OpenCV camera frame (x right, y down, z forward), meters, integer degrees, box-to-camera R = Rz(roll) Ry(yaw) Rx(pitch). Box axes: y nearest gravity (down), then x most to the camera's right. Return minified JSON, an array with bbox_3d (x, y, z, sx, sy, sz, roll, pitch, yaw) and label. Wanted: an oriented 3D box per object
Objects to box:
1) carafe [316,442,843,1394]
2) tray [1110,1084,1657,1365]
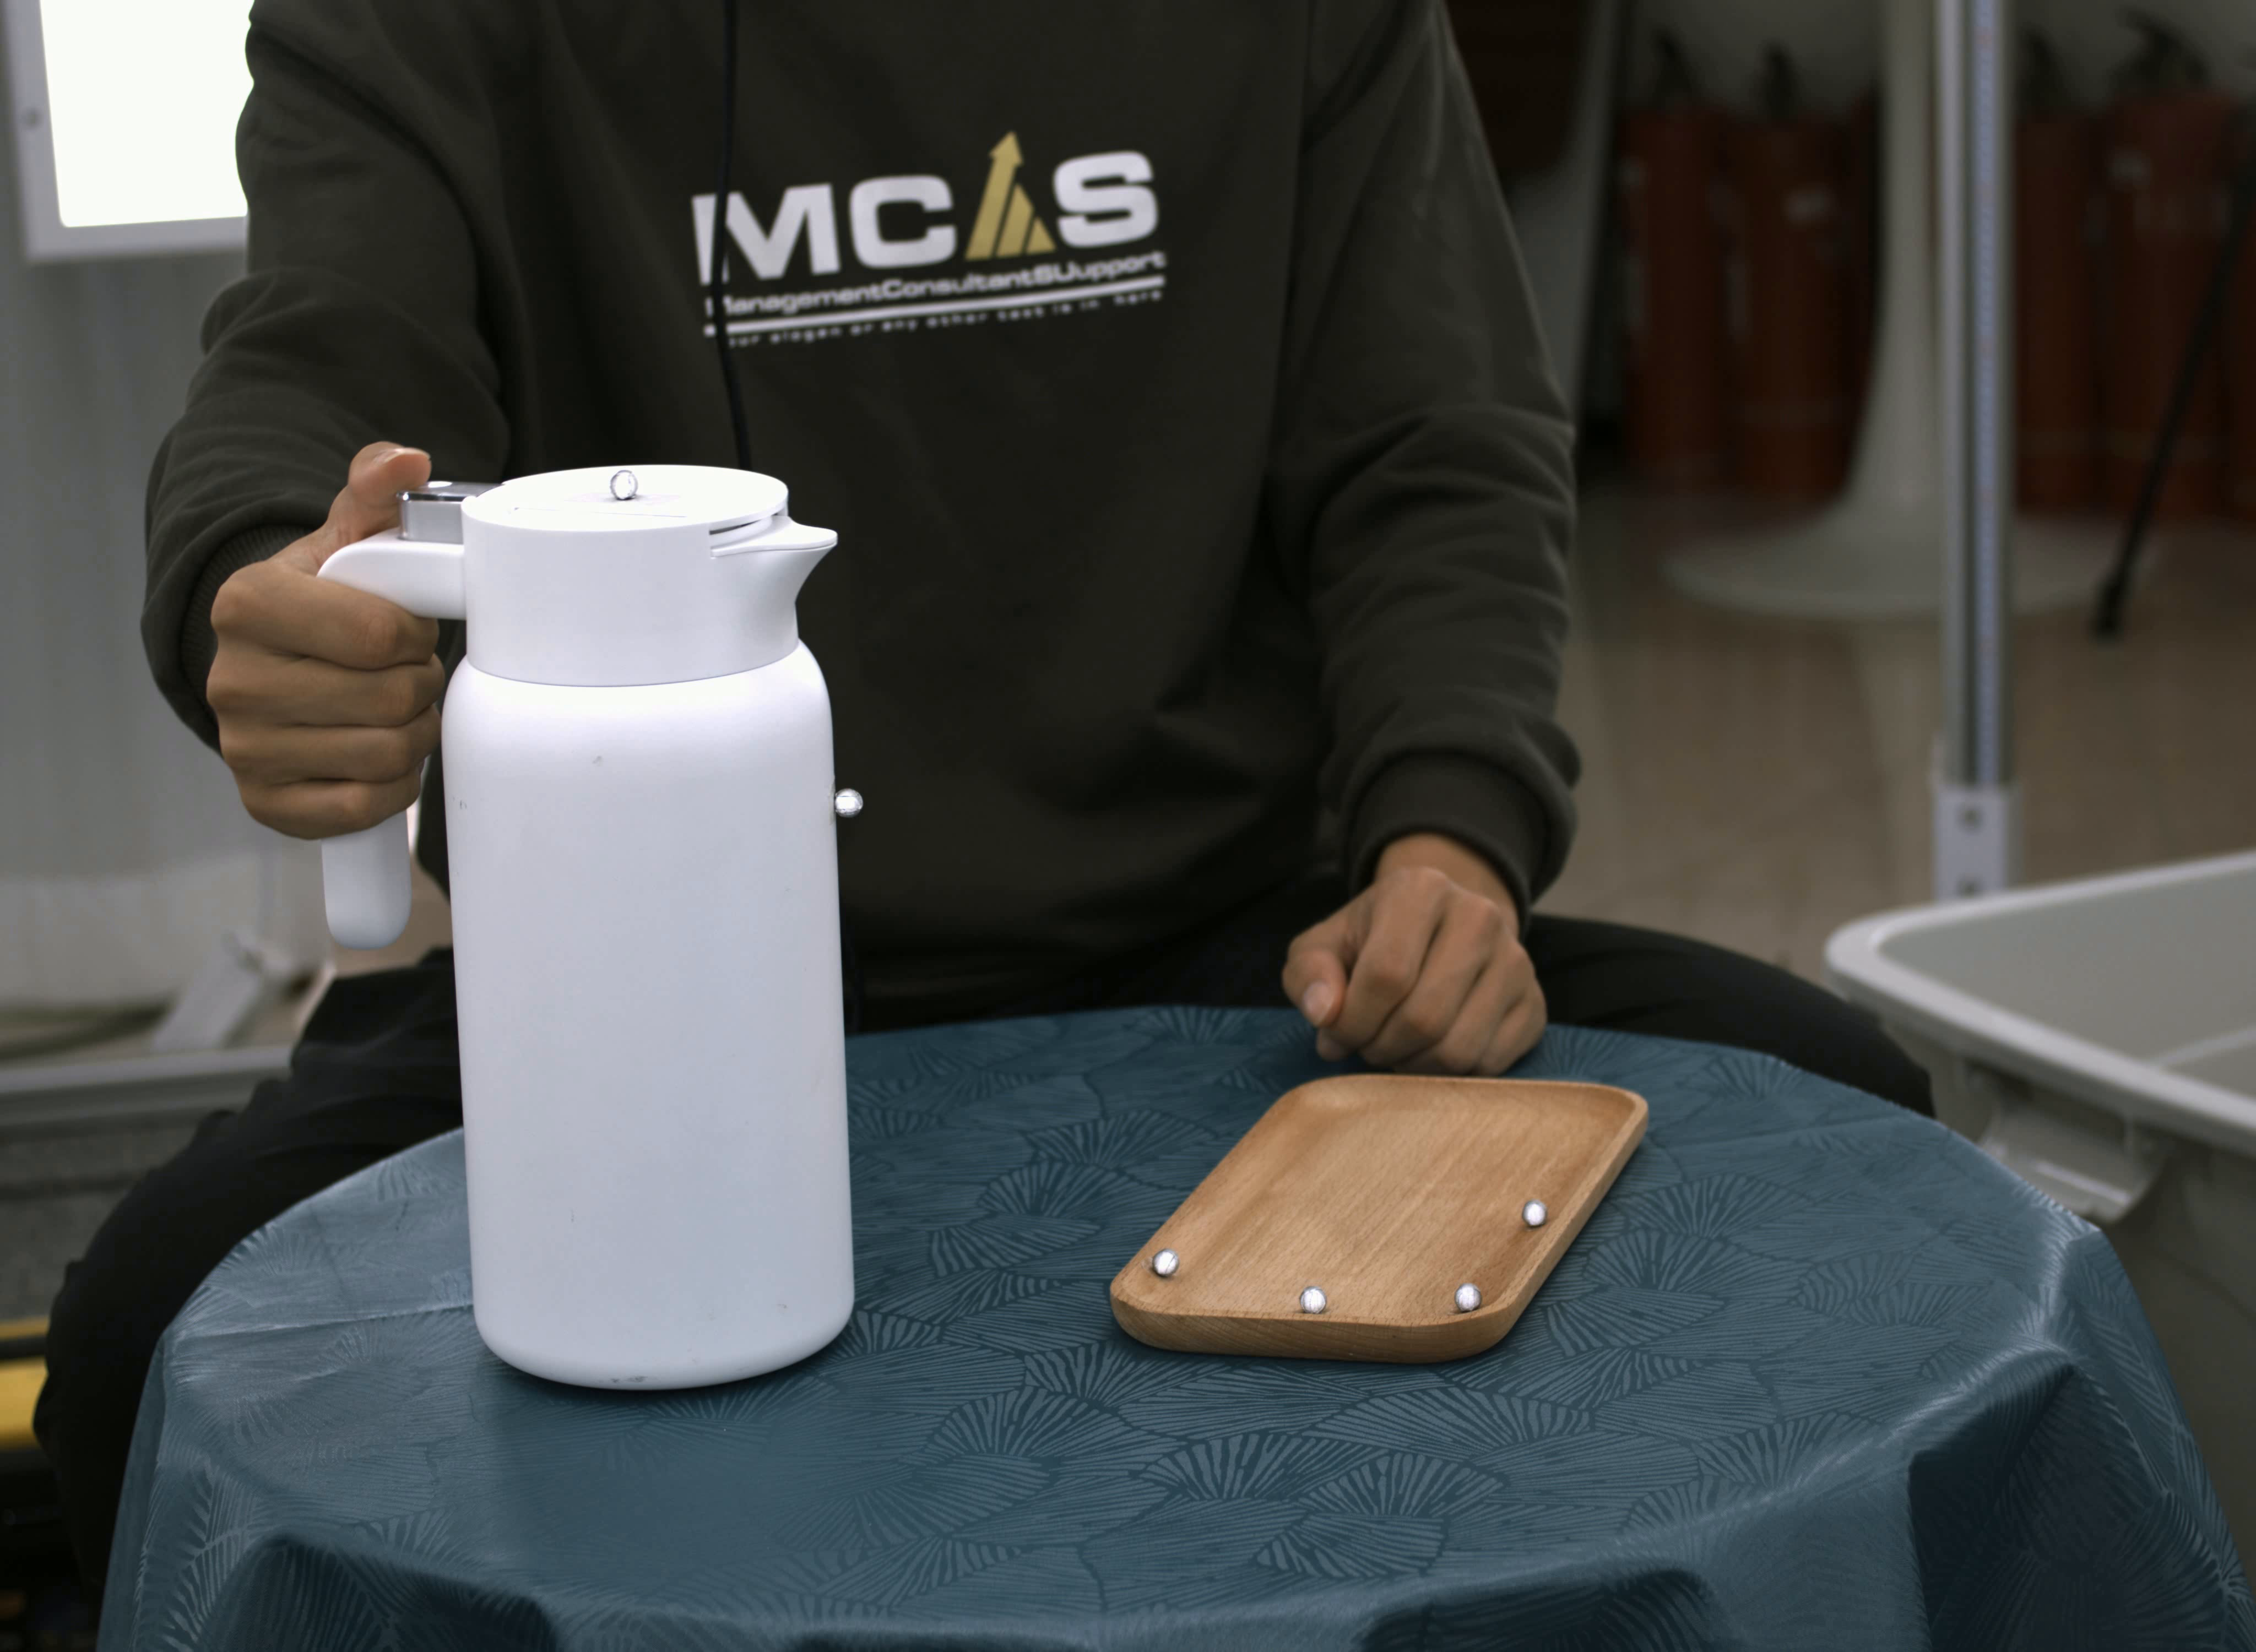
[{"bbox_3d":[-0.161,0.026,1.629,0.173,0.272,0.122,5,16,23],"label":"carafe"},{"bbox_3d":[0.085,0.124,1.711,0.130,0.023,0.248,3,14,19],"label":"tray"}]
